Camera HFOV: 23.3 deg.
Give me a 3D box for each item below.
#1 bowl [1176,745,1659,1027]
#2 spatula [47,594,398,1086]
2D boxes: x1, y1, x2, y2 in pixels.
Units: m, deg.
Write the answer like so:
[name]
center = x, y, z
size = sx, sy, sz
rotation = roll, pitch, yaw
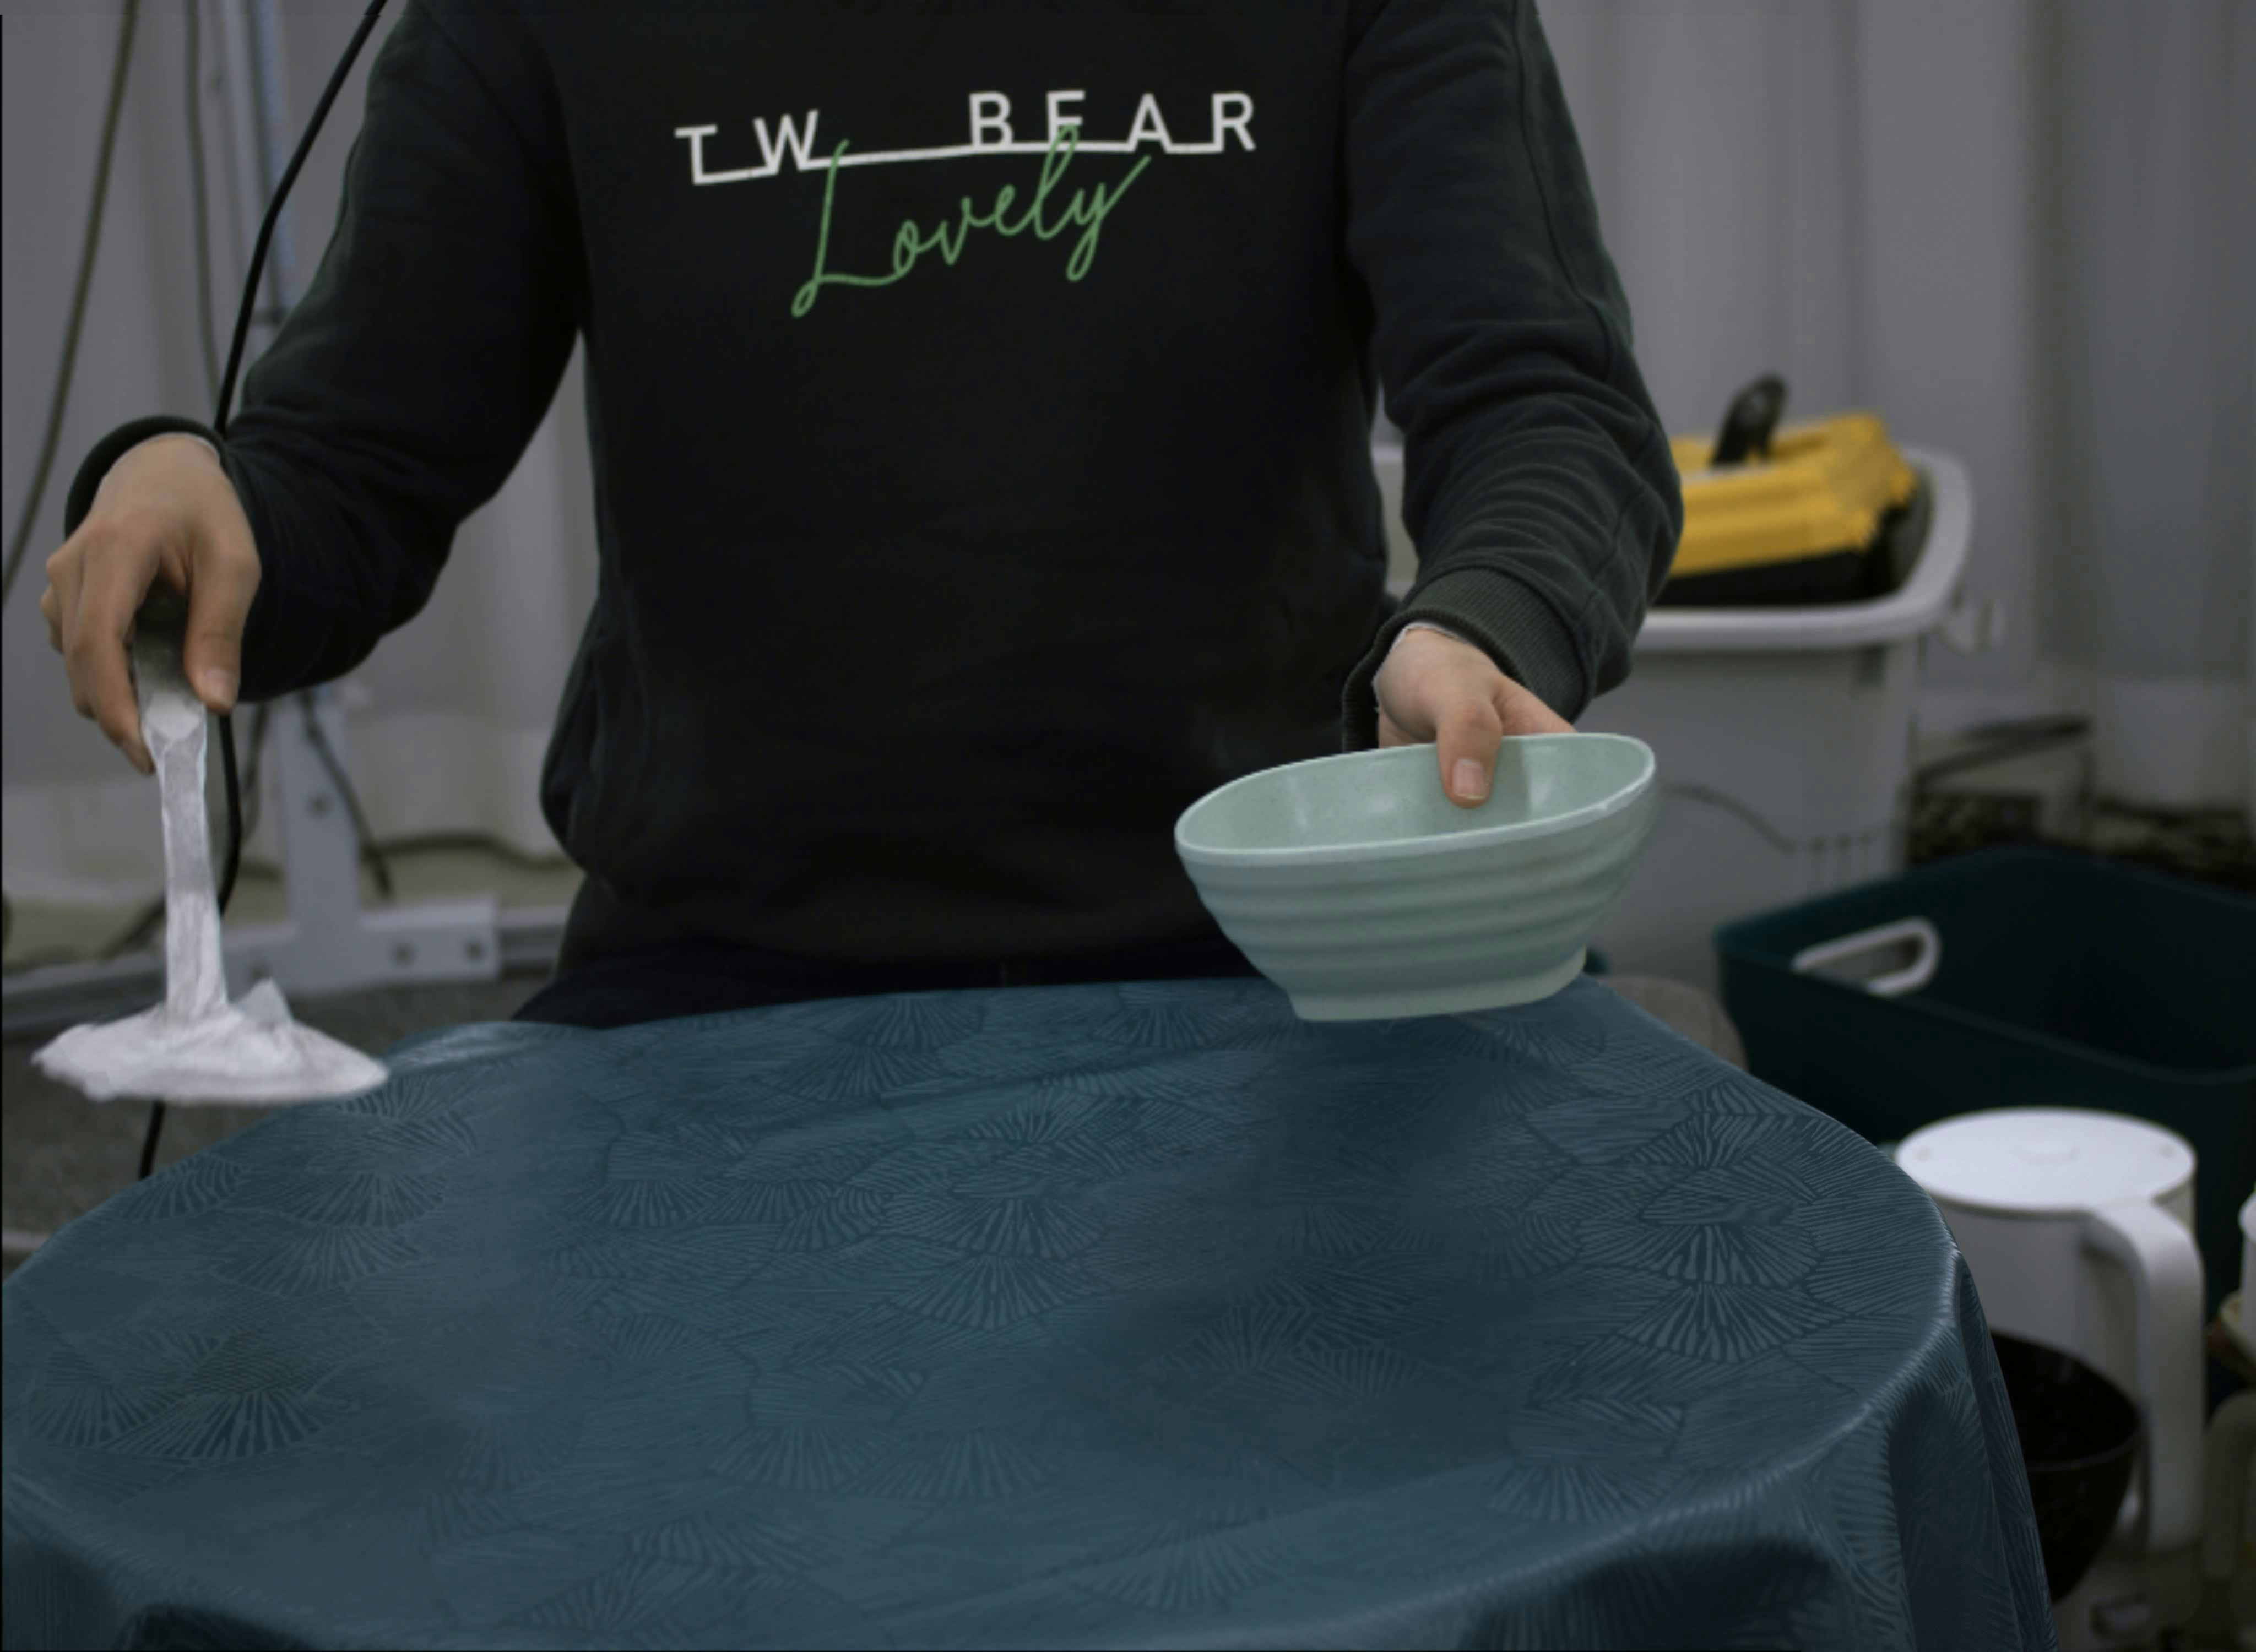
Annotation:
[bowl]
center = 0.086, 0.020, 1.582
size = 0.151, 0.058, 0.152
rotation = -6, 11, 1
[spatula]
center = -0.284, -0.004, 1.682
size = 0.098, 0.044, 0.370
rotation = 0, 30, -12
